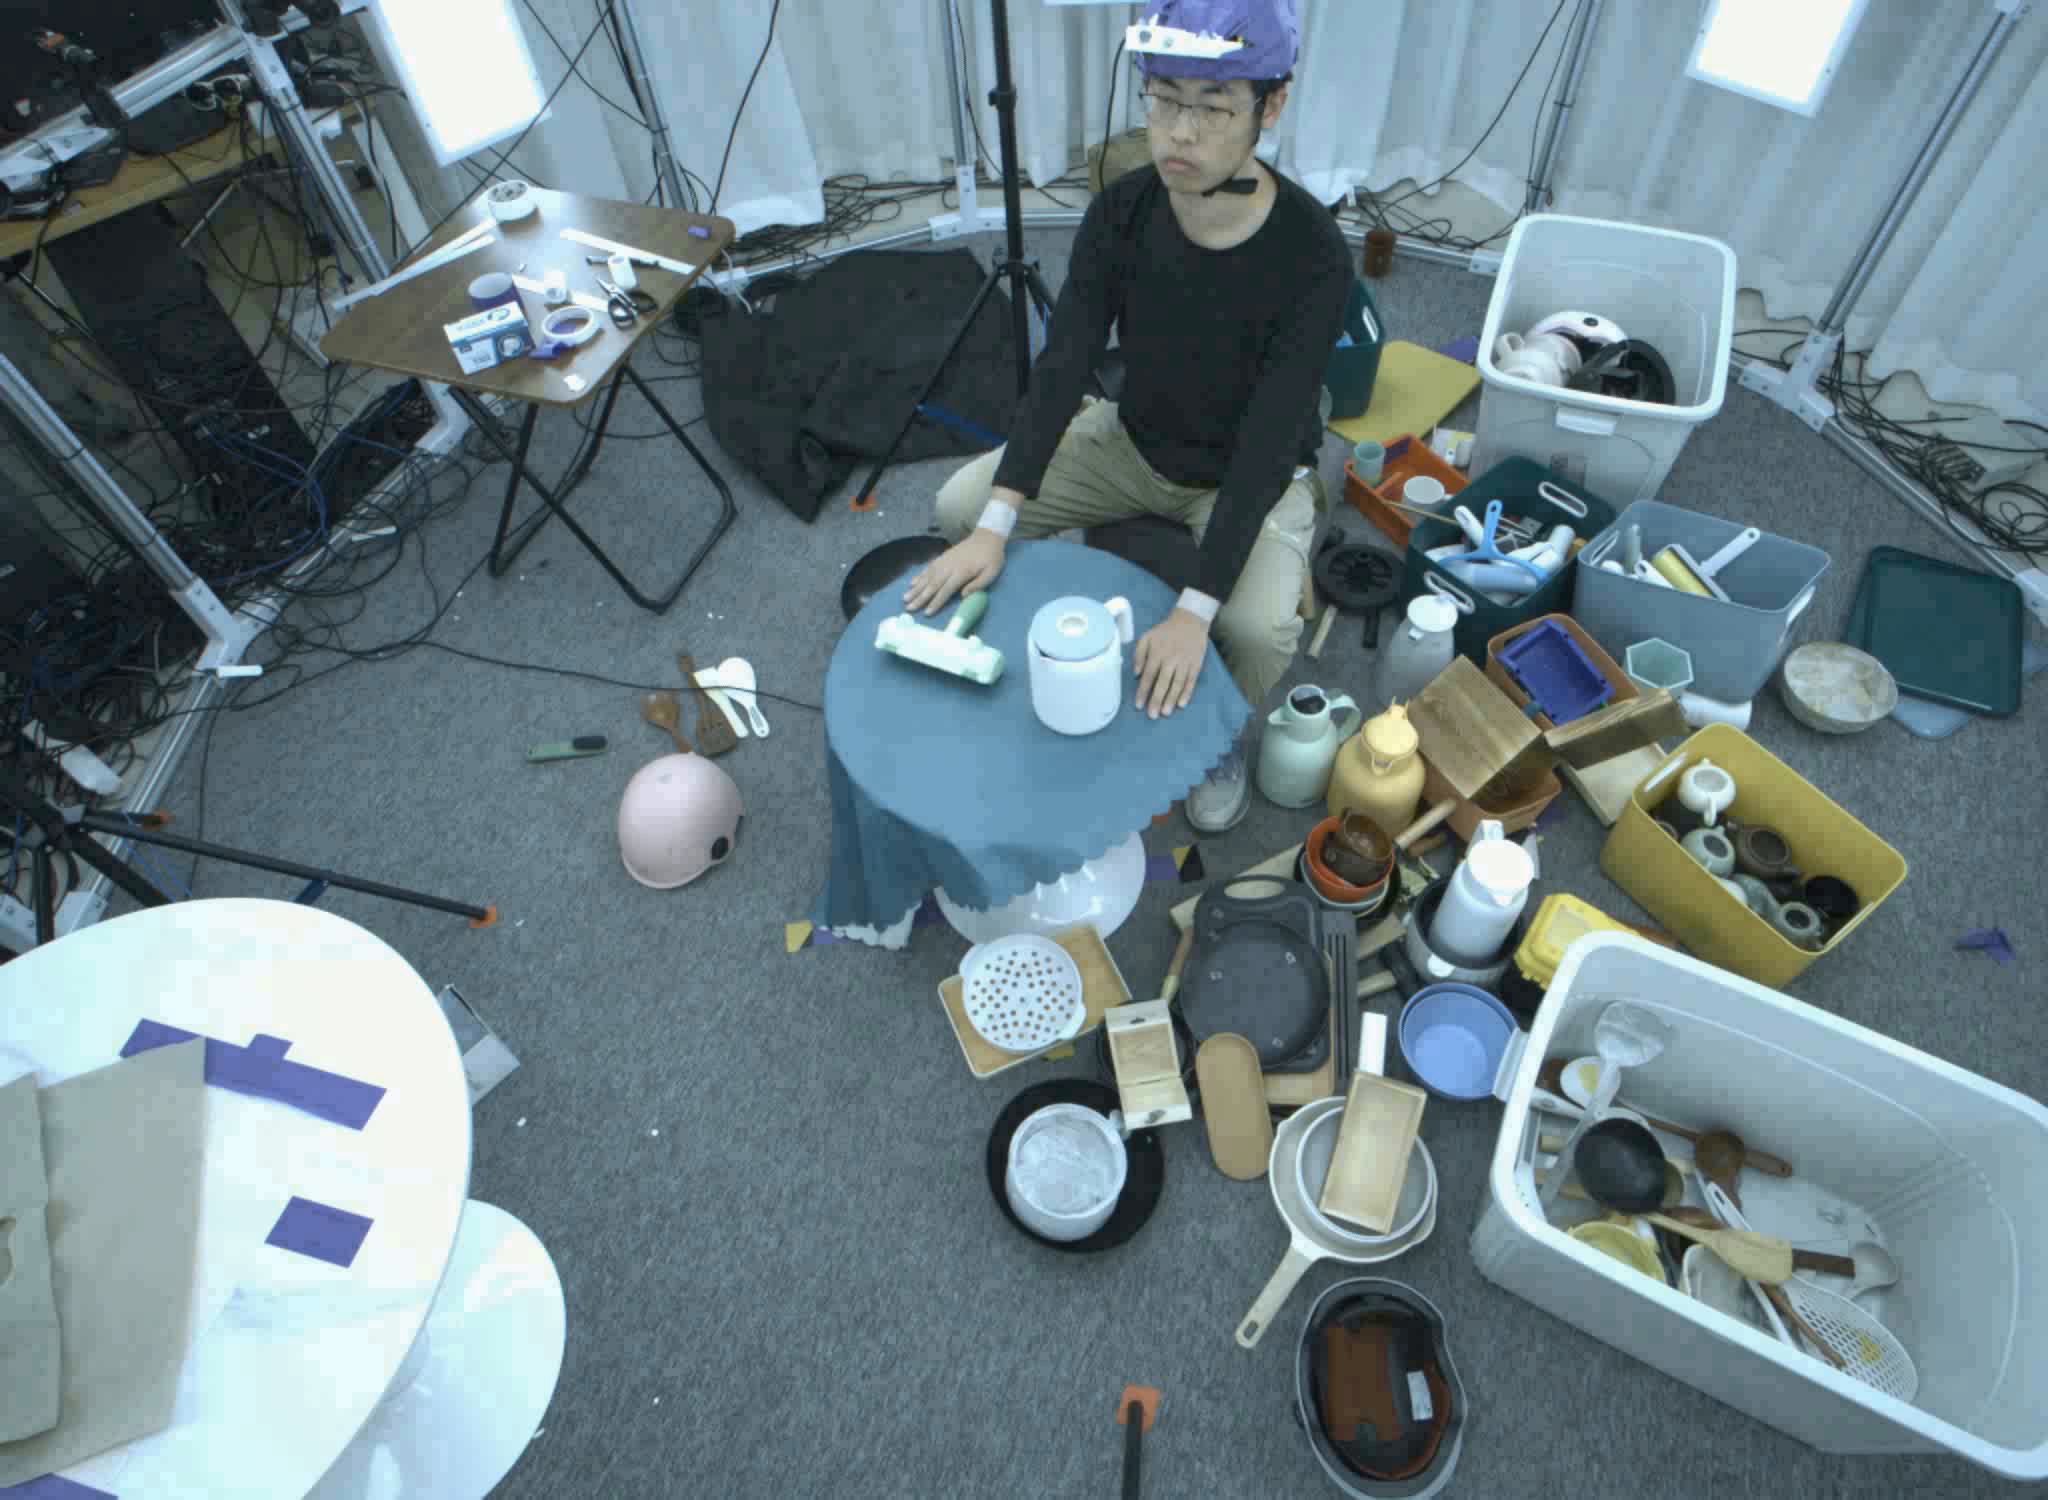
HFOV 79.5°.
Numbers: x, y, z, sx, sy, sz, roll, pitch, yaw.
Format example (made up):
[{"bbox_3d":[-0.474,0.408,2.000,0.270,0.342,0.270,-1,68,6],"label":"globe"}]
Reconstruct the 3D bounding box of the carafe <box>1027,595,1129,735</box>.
[{"bbox_3d":[0.089,-0.136,1.775,0.130,0.184,0.192,35,61,24],"label":"carafe"}]

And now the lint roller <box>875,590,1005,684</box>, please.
[{"bbox_3d":[-0.105,-0.197,1.883,0.196,0.083,0.183,20,60,14],"label":"lint roller"}]
